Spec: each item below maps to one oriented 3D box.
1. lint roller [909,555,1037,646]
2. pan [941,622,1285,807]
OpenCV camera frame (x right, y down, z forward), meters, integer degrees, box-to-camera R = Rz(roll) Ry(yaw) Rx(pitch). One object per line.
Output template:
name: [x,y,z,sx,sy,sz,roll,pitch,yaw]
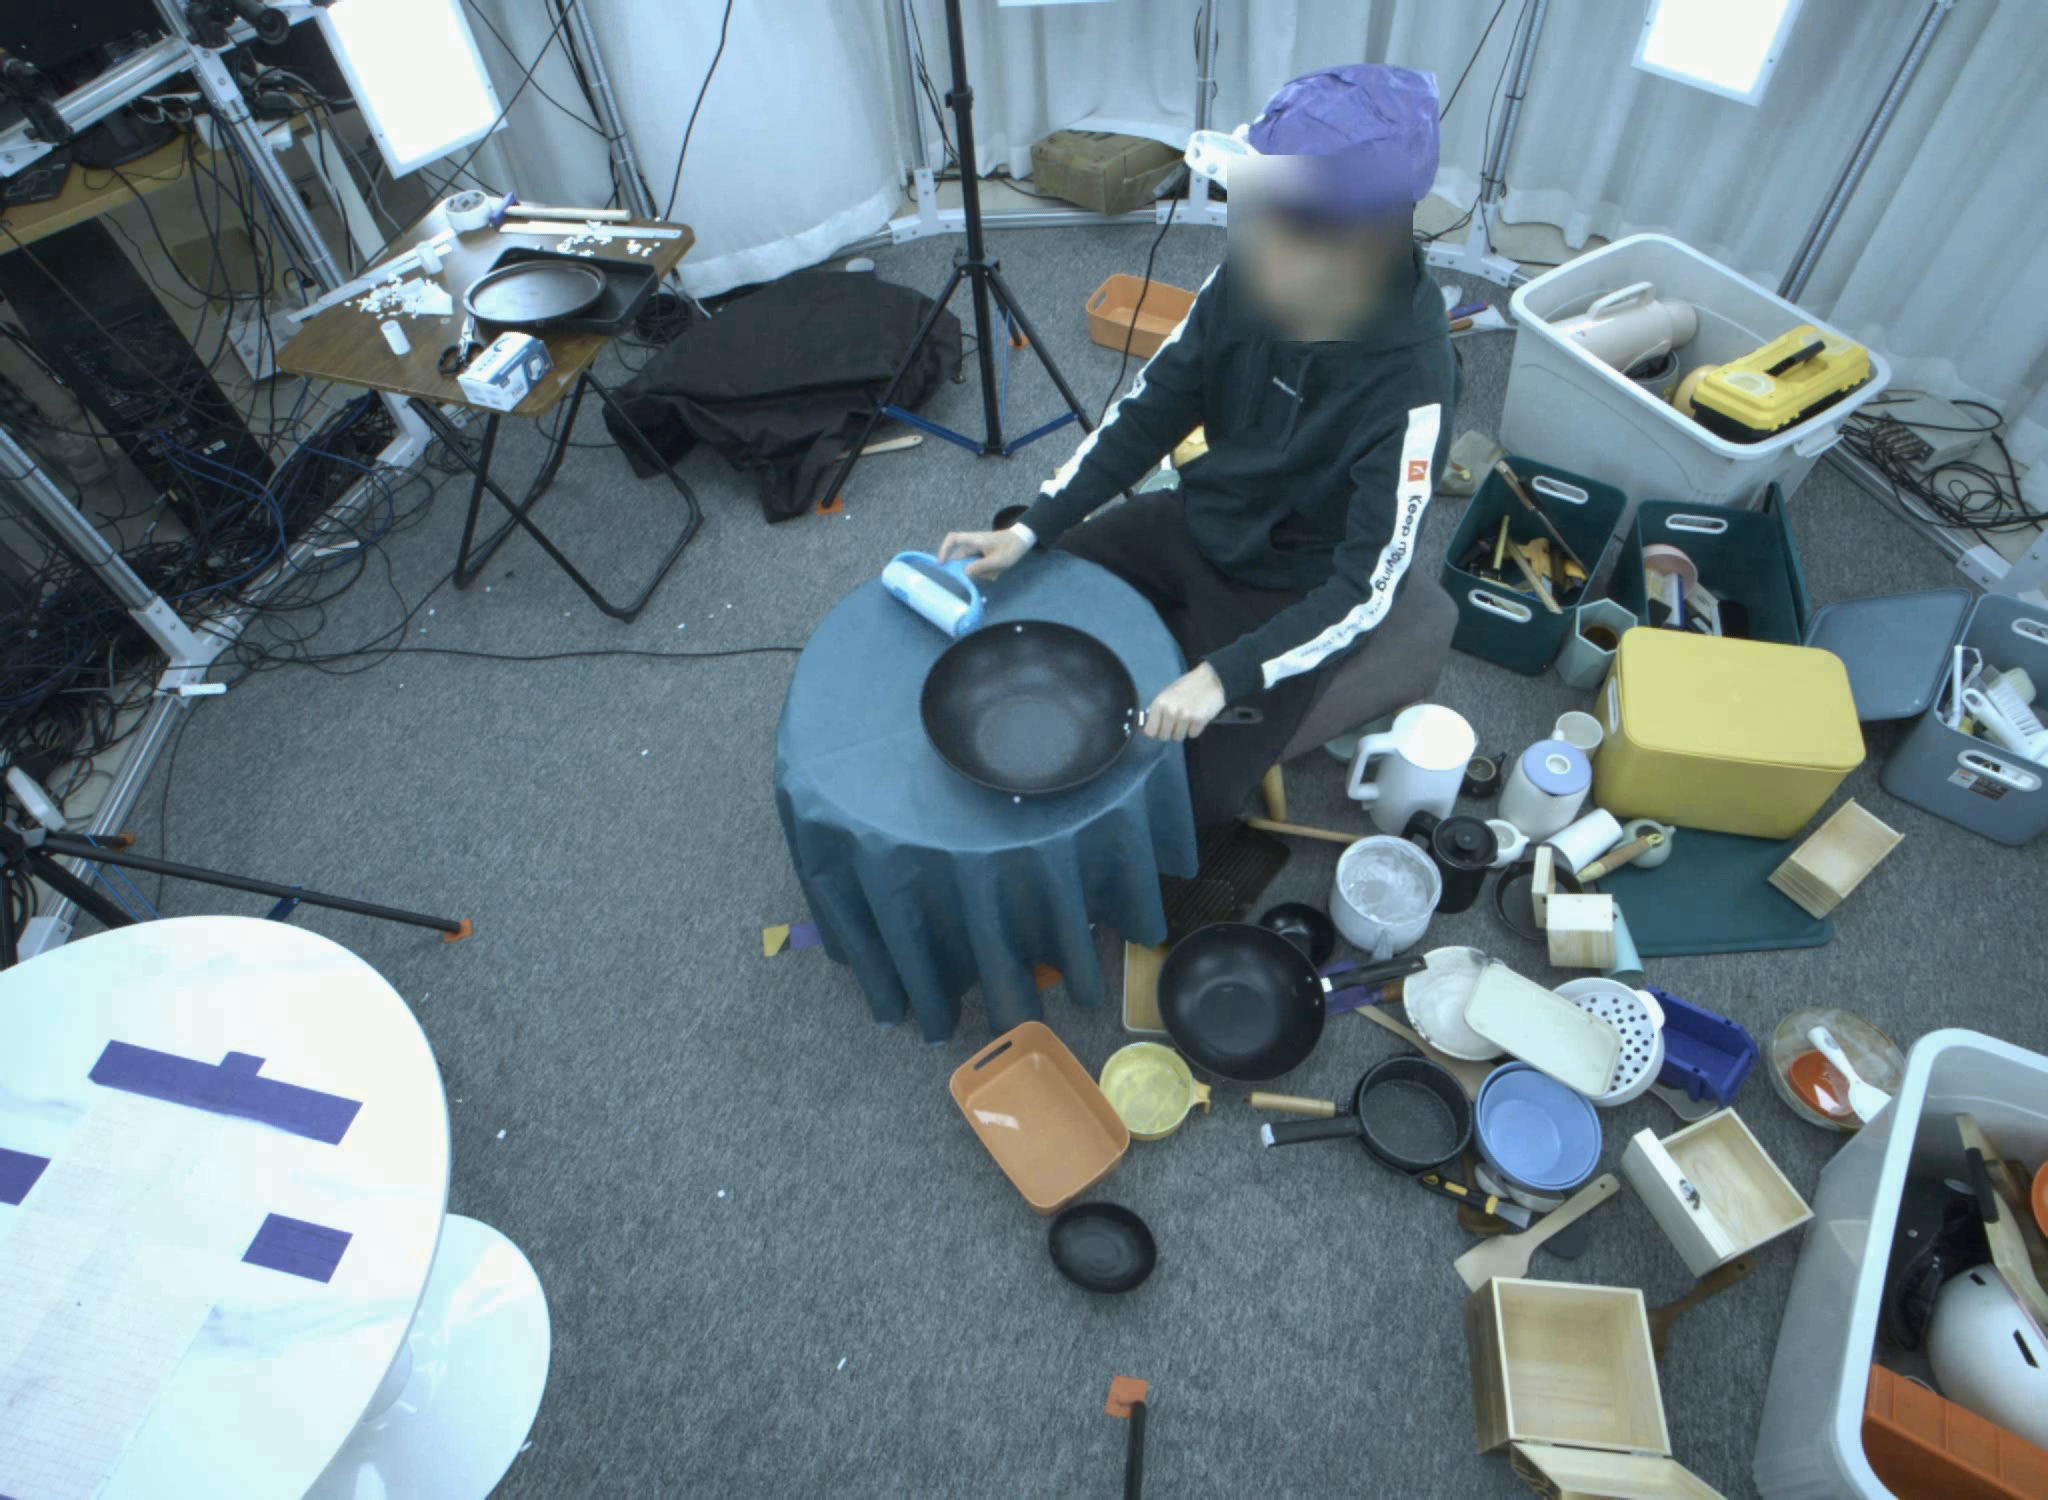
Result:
lint roller: [-0.058,-0.261,1.919,0.181,0.069,0.224,-38,52,-23]
pan: [0.122,-0.033,1.737,0.476,0.112,0.308,7,57,3]
